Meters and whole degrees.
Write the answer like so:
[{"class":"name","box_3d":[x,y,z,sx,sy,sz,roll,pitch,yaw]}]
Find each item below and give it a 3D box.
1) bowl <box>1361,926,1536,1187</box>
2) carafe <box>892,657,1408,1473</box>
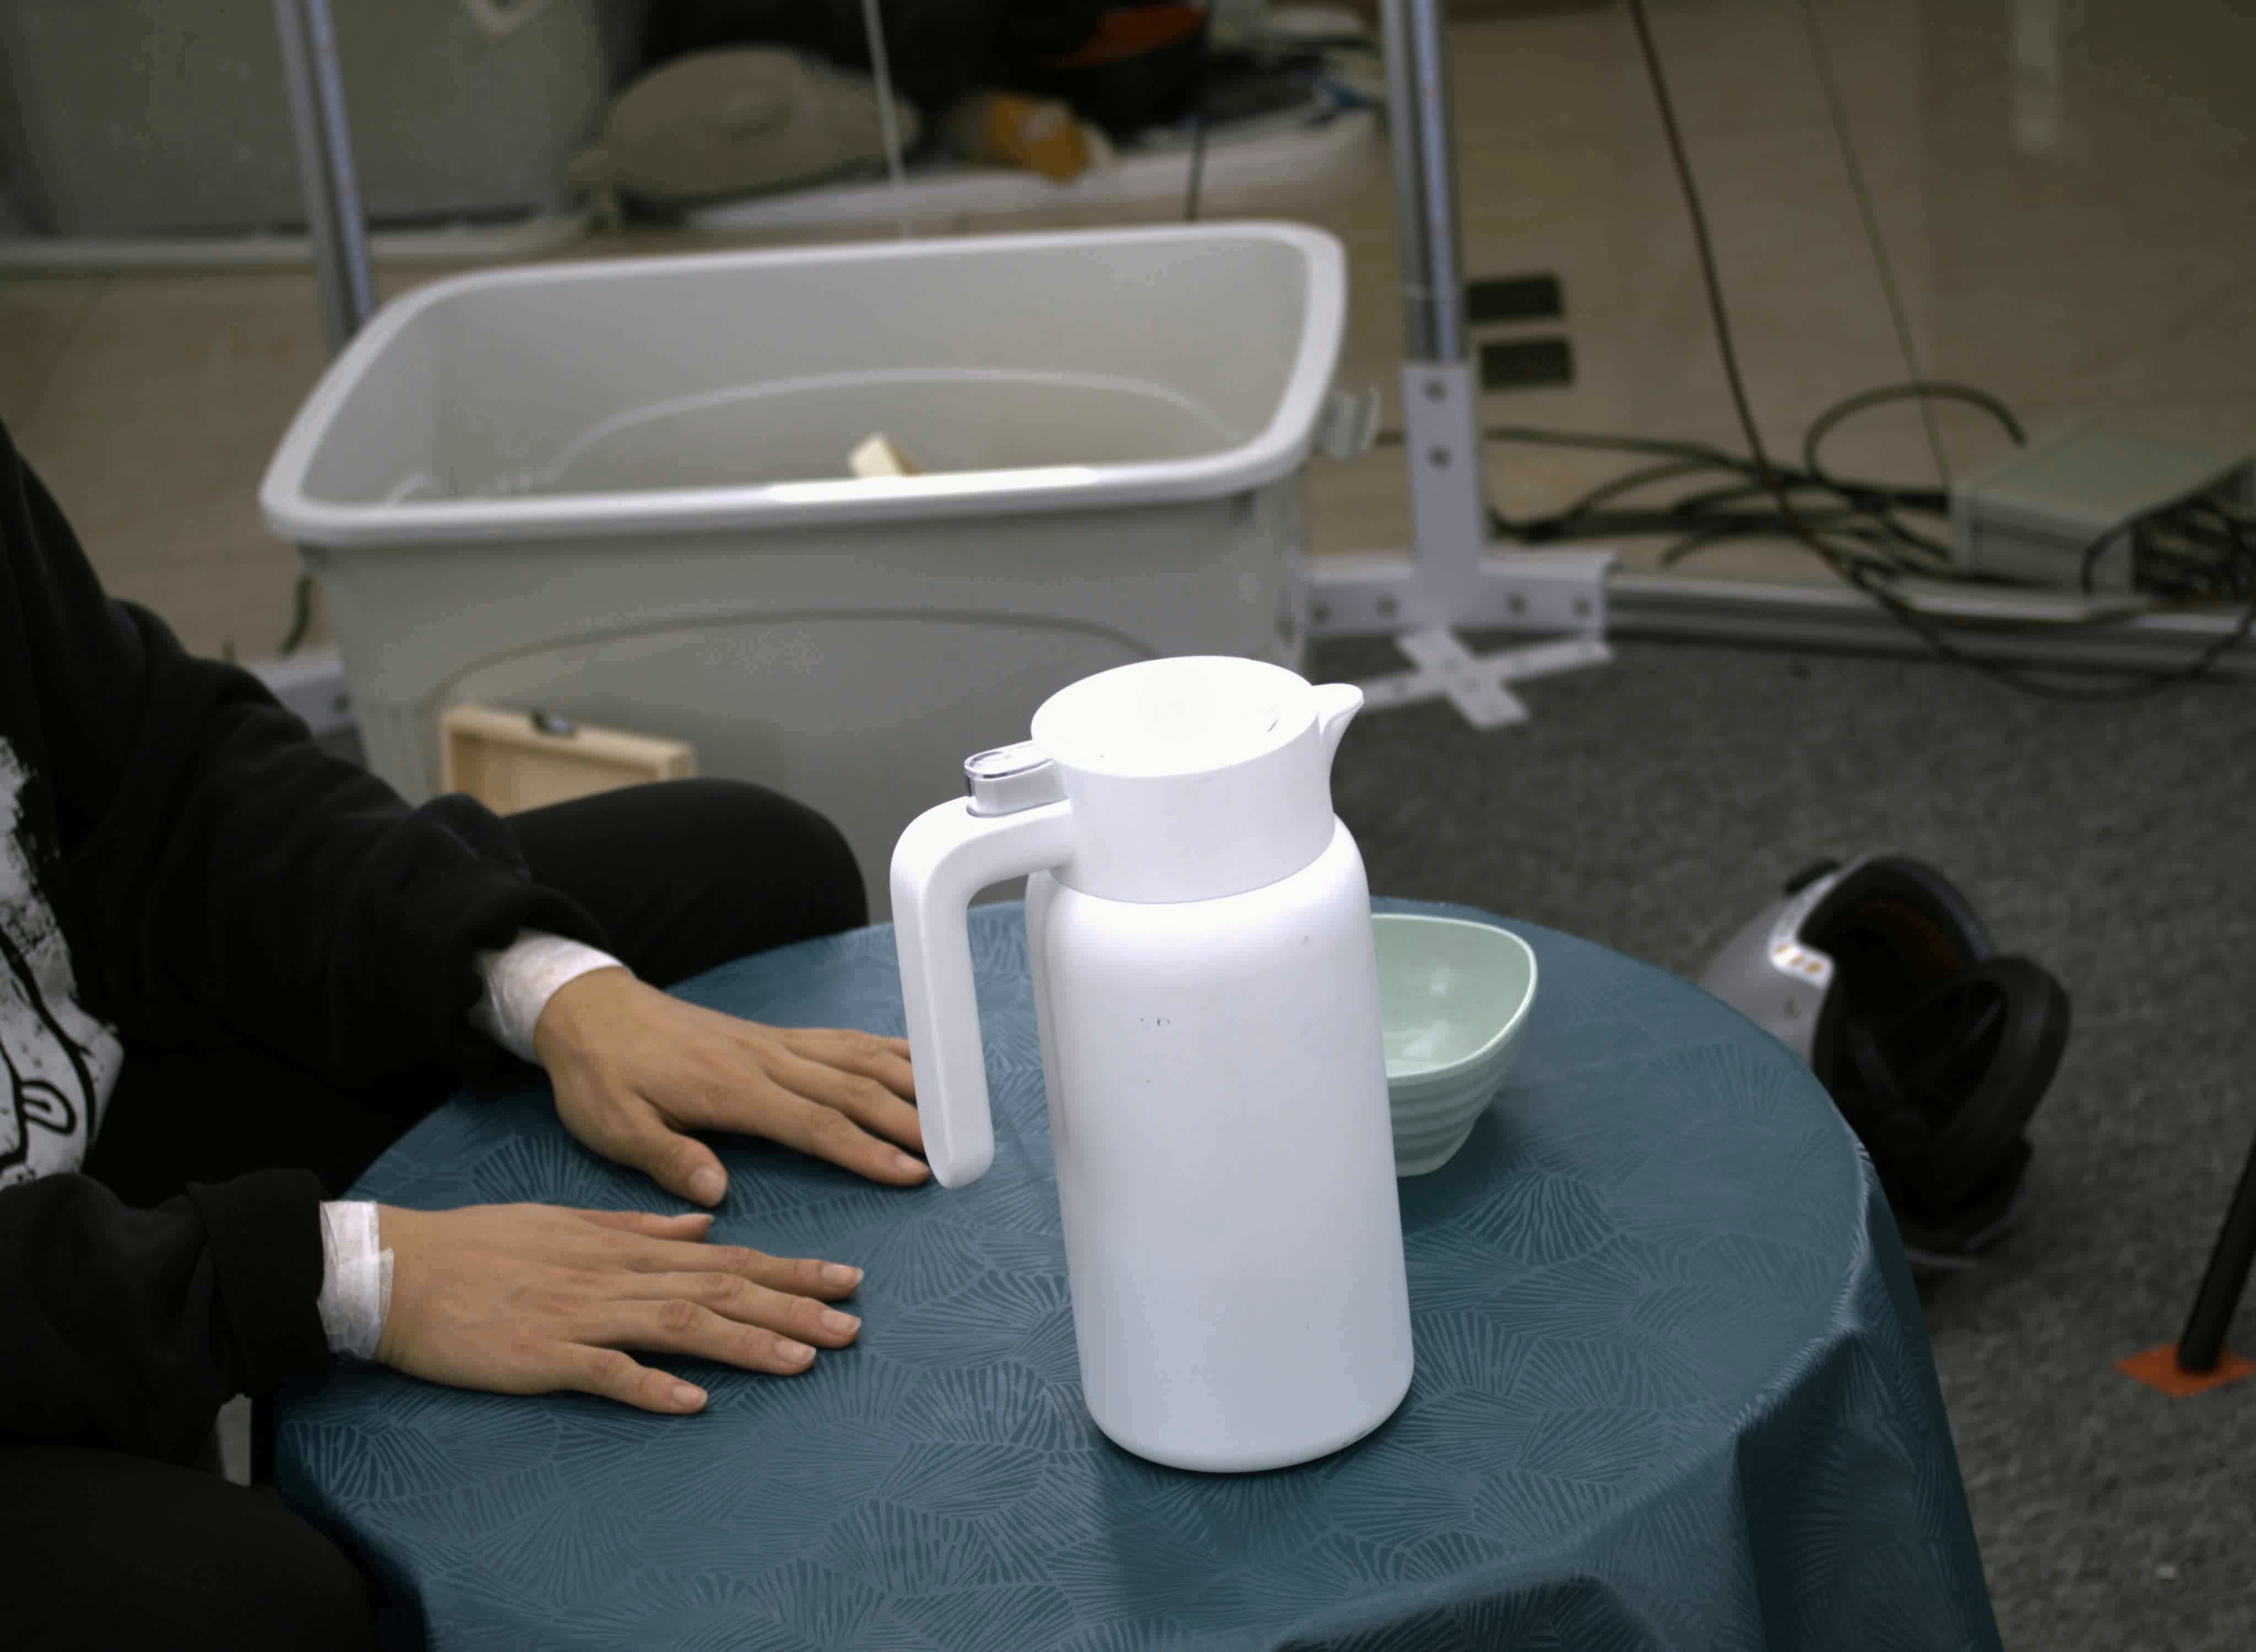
[{"class":"bowl","box_3d":[0.087,0.093,2.164,0.151,0.059,0.149,-5,25,3]},{"class":"carafe","box_3d":[0.013,0.087,1.938,0.172,0.273,0.122,-16,29,-19]}]
